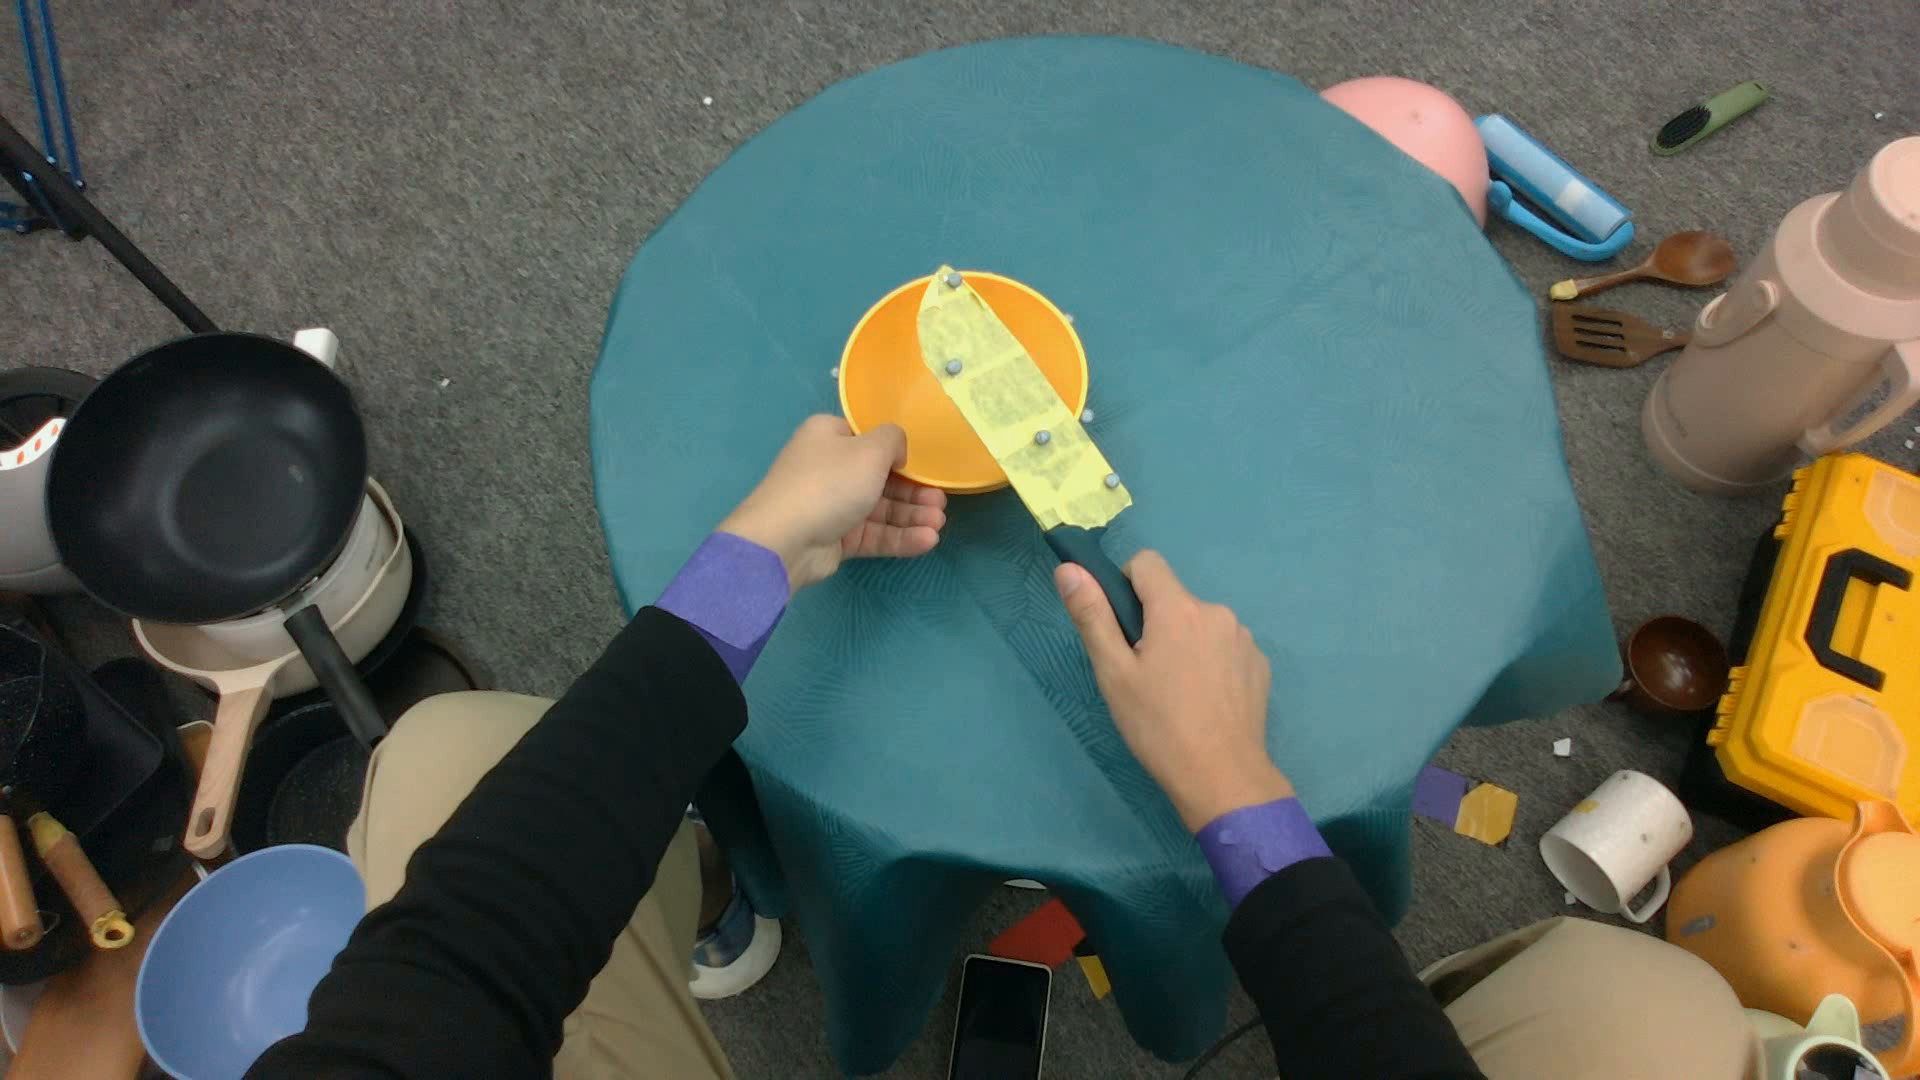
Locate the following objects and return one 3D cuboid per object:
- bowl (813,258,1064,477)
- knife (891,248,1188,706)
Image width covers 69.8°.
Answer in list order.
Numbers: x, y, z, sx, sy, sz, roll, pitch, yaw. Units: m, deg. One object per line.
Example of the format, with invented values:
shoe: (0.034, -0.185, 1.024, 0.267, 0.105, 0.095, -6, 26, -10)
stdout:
bowl: (-0.011, -0.092, 0.819, 0.145, 0.060, 0.146, -1, 64, 3)
knife: (0.047, -0.039, 0.756, 0.081, 0.027, 0.289, -29, 86, -40)
